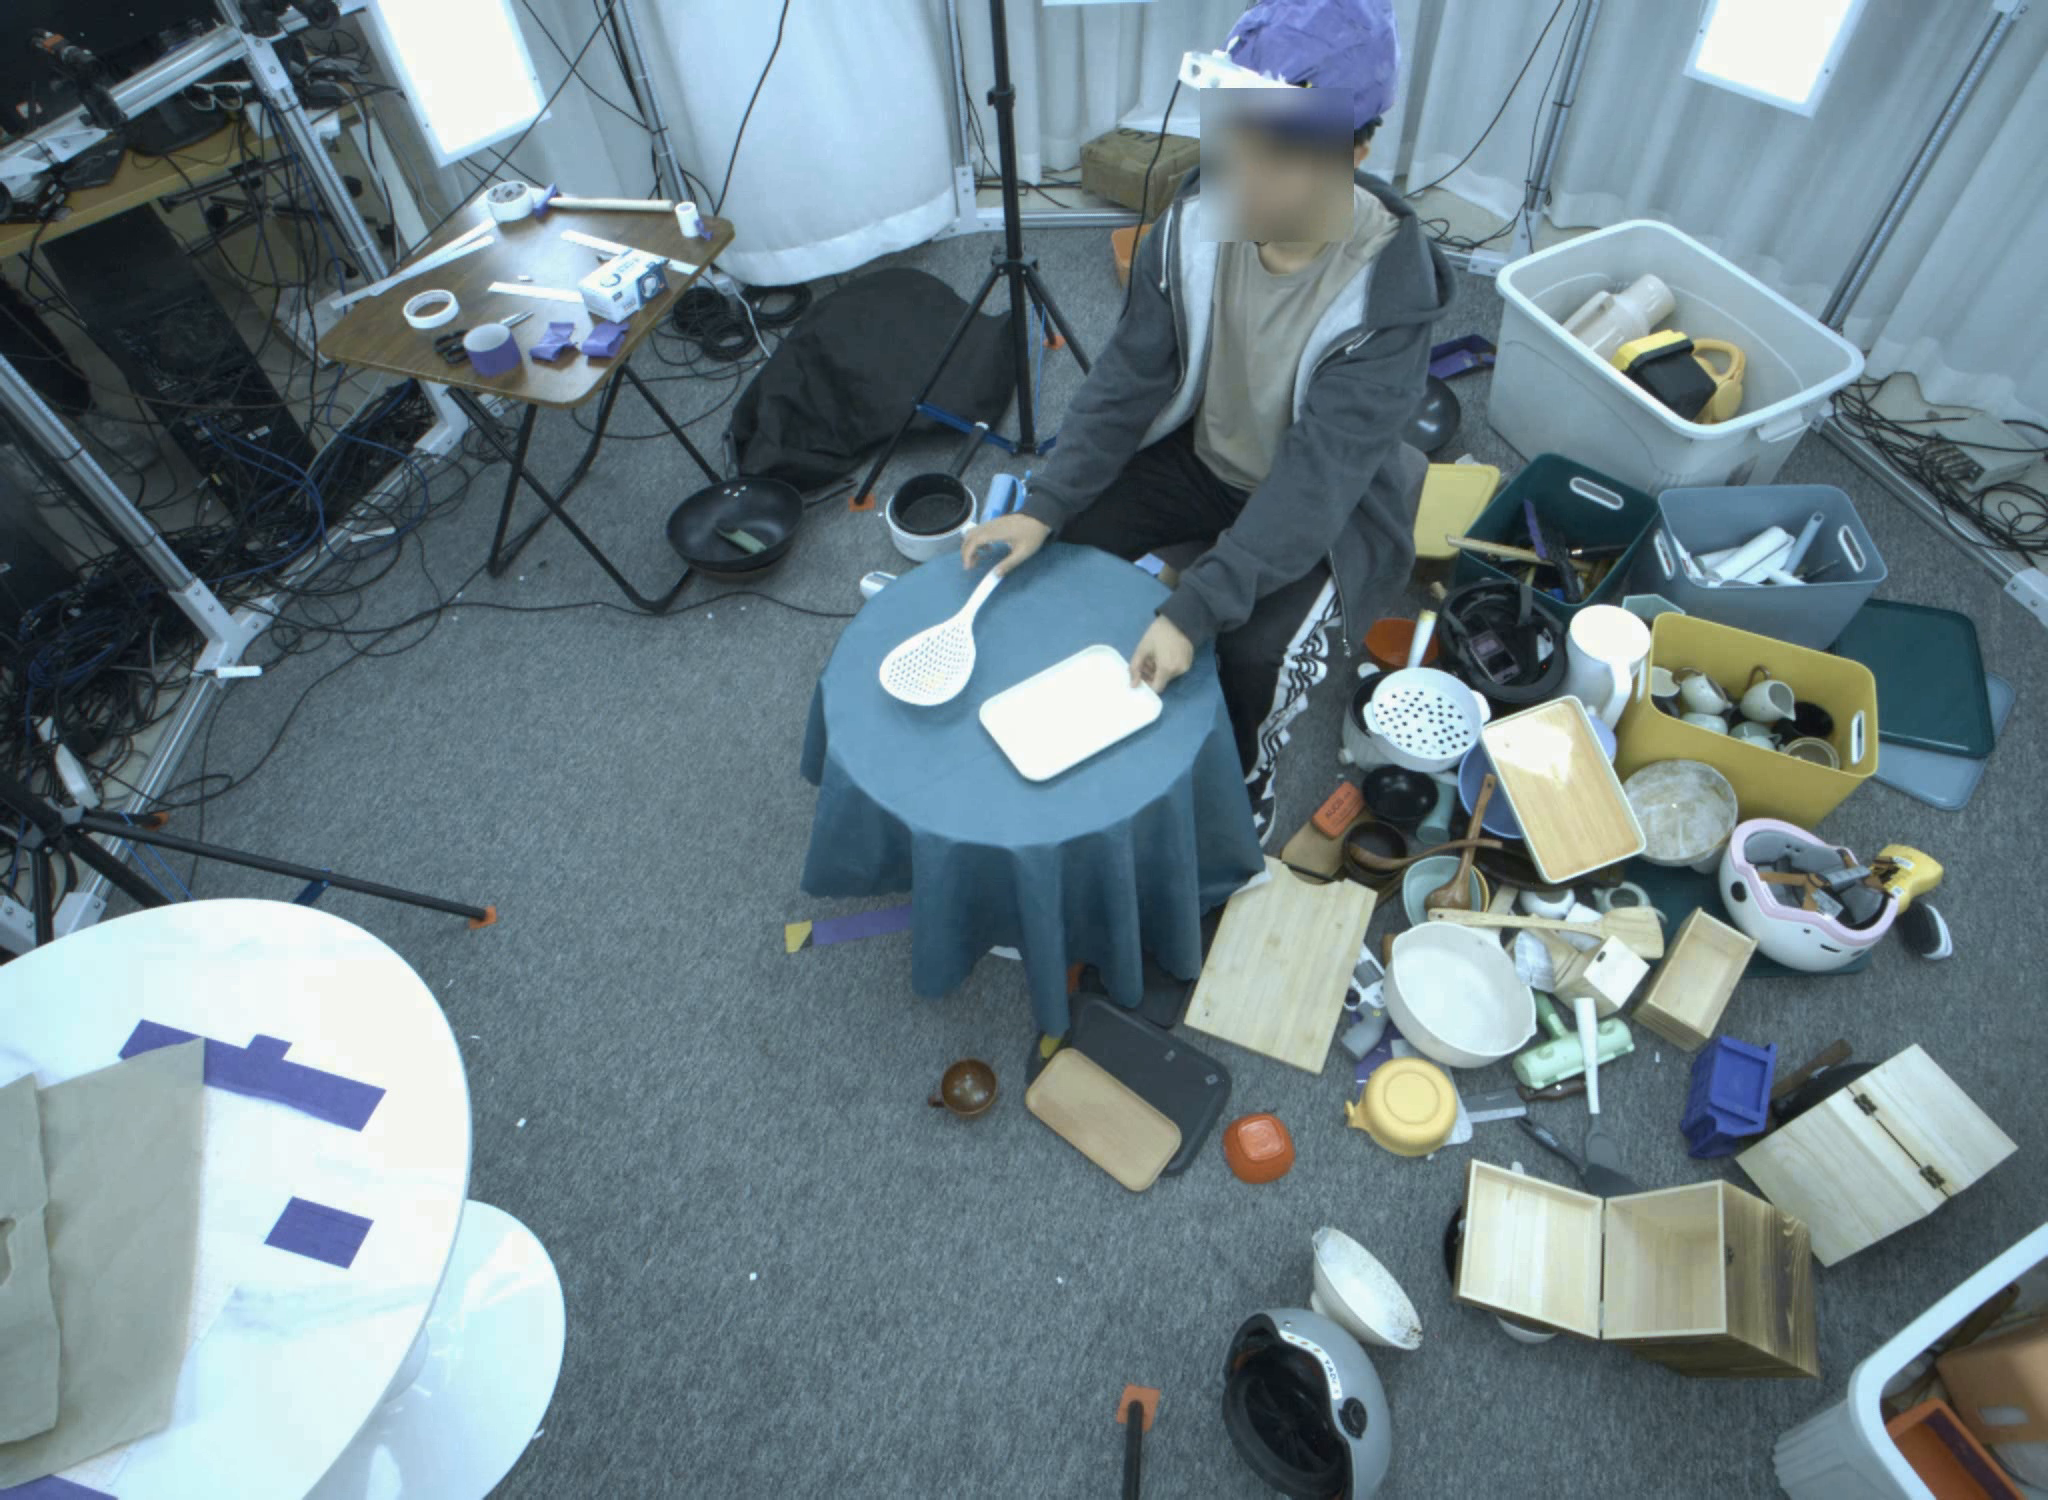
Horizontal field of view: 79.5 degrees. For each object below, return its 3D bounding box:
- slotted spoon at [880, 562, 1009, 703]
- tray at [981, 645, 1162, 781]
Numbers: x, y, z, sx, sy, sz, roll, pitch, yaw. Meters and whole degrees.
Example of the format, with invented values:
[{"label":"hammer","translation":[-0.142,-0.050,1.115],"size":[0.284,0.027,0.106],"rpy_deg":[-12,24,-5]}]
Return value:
[{"label":"slotted spoon","translation":[-0.098,-0.190,1.904],"size":[0.135,0.051,0.348],"rpy_deg":[17,56,18]},{"label":"tray","translation":[0.070,-0.056,1.815],"size":[0.241,0.018,0.168],"rpy_deg":[-28,58,-16]}]
